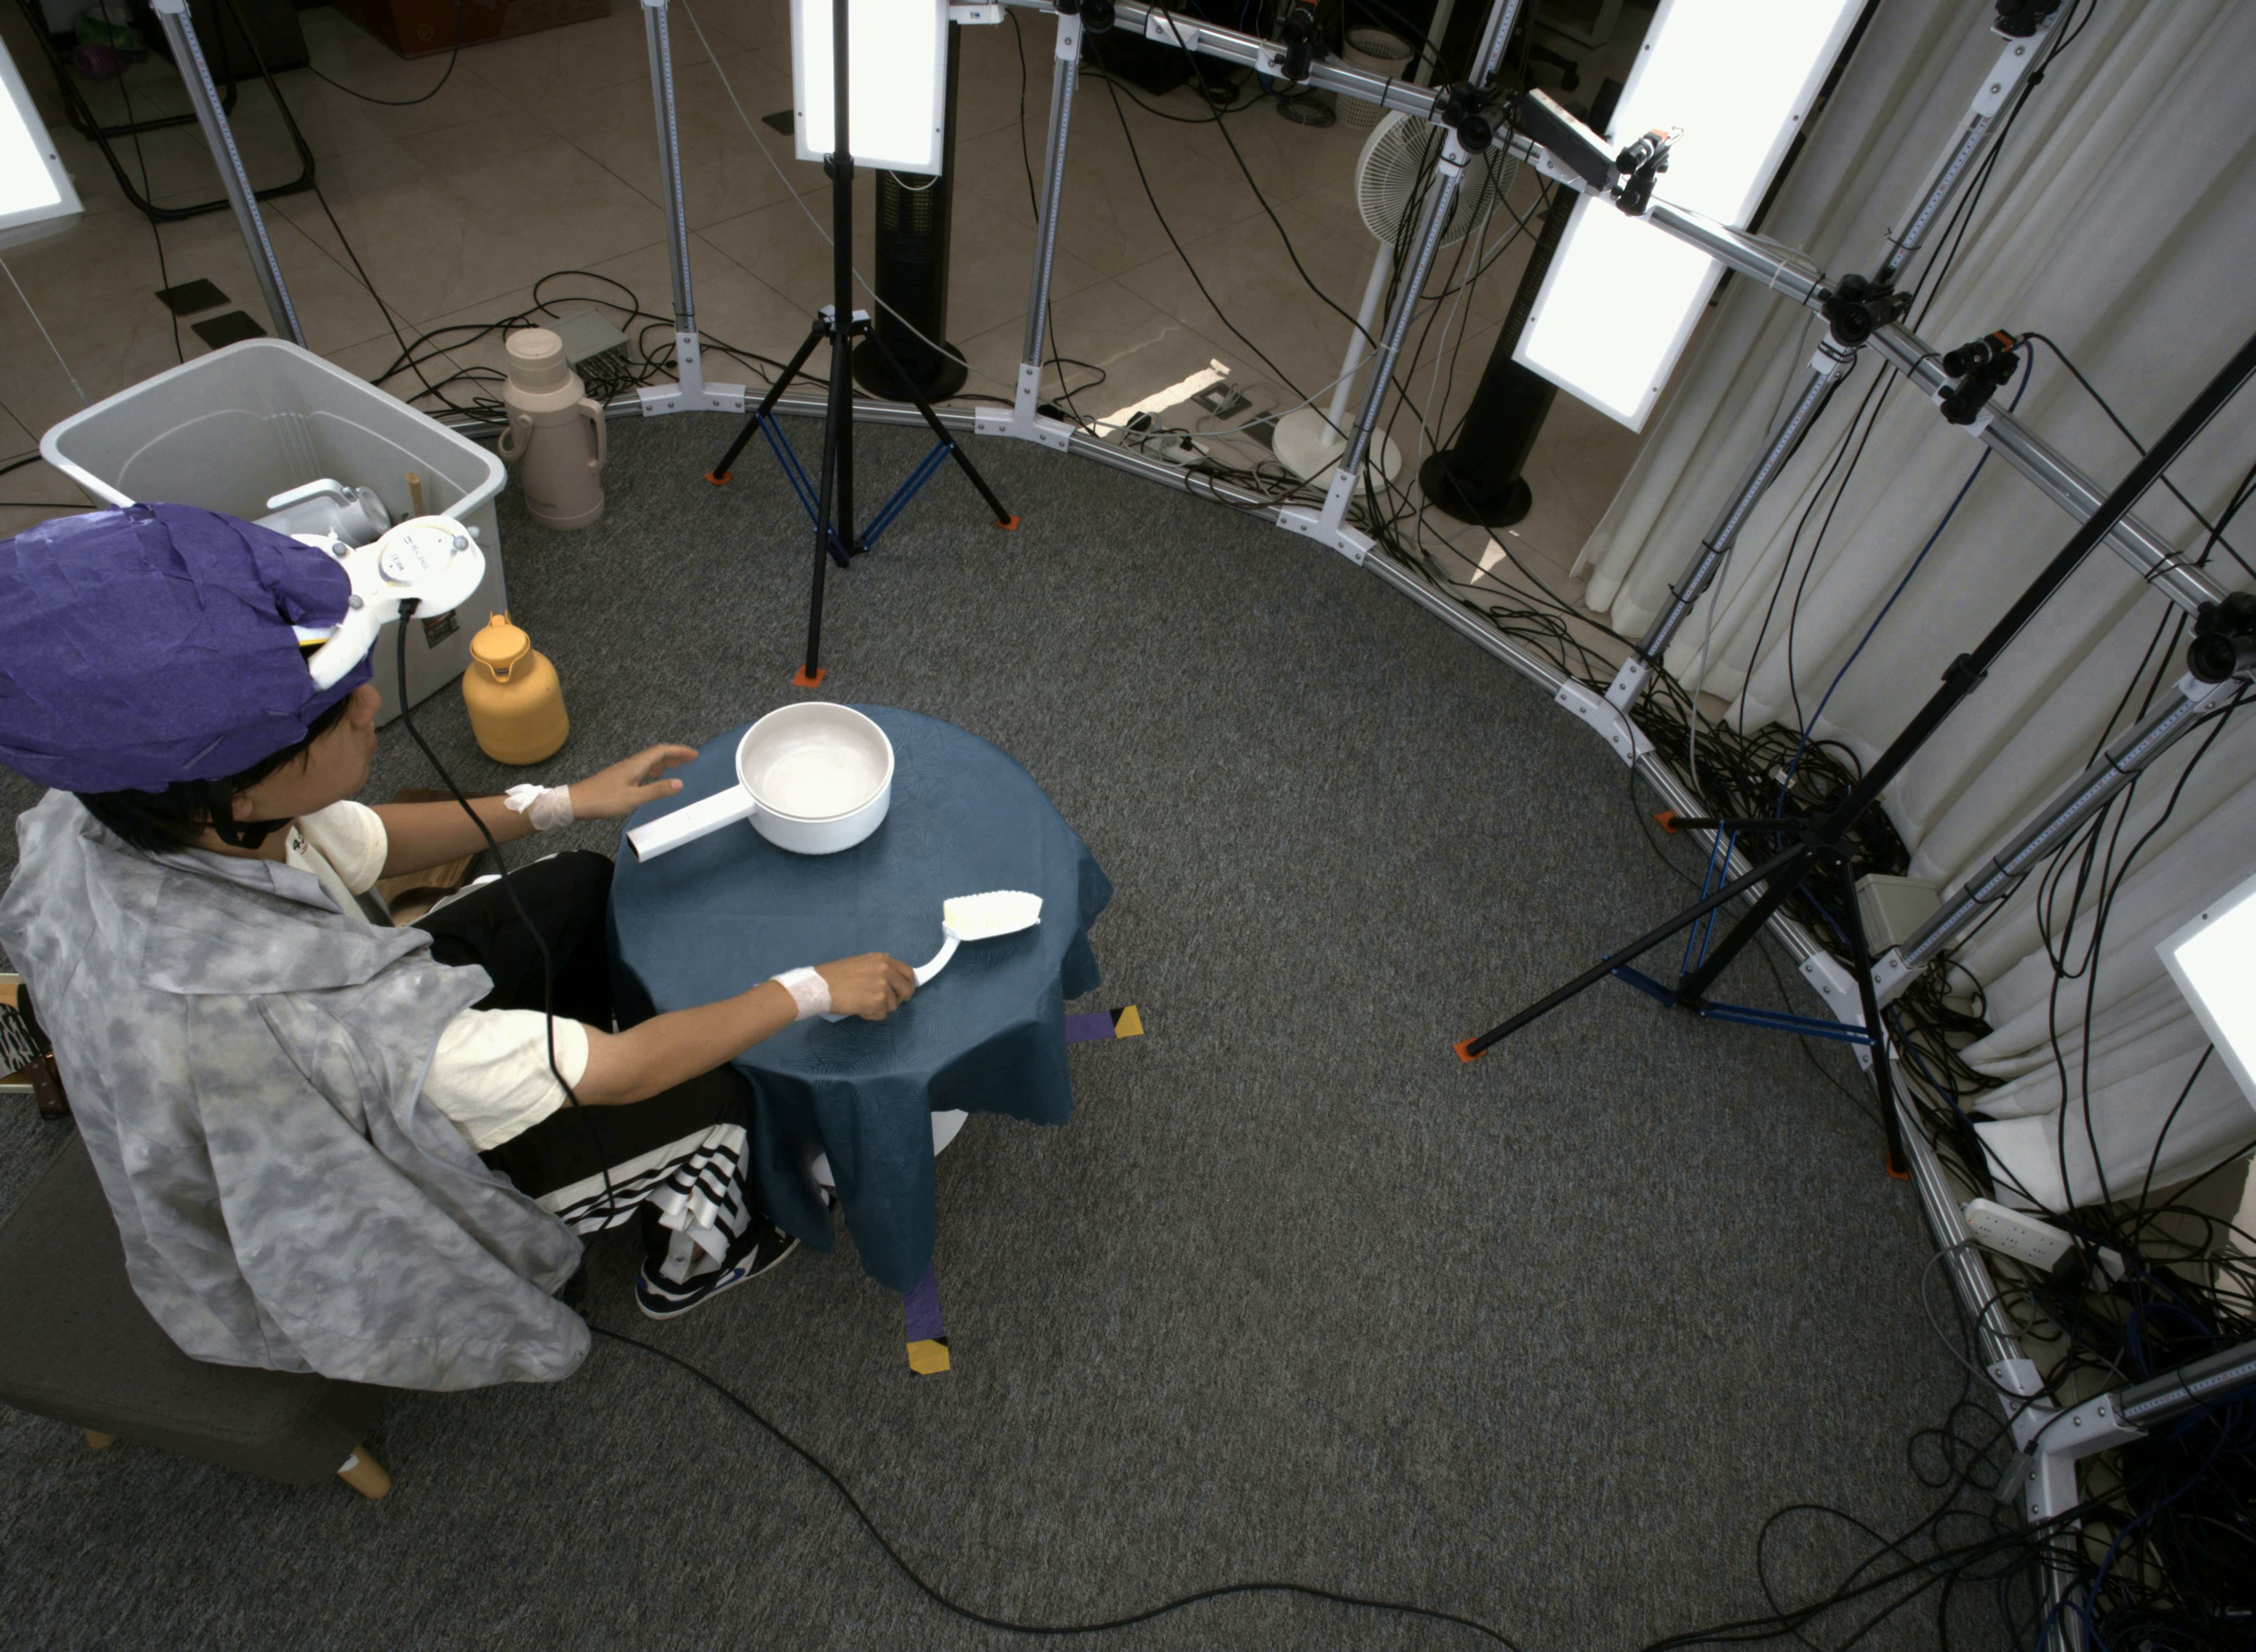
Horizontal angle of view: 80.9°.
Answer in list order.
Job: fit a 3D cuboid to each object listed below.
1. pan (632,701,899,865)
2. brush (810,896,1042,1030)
[{"bbox_3d":[-0.463,-0.025,1.673,0.356,0.104,0.196,-29,65,-29],"label":"pan"},{"bbox_3d":[-0.247,0.146,1.604,0.327,0.083,0.084,-22,75,-29],"label":"brush"}]
